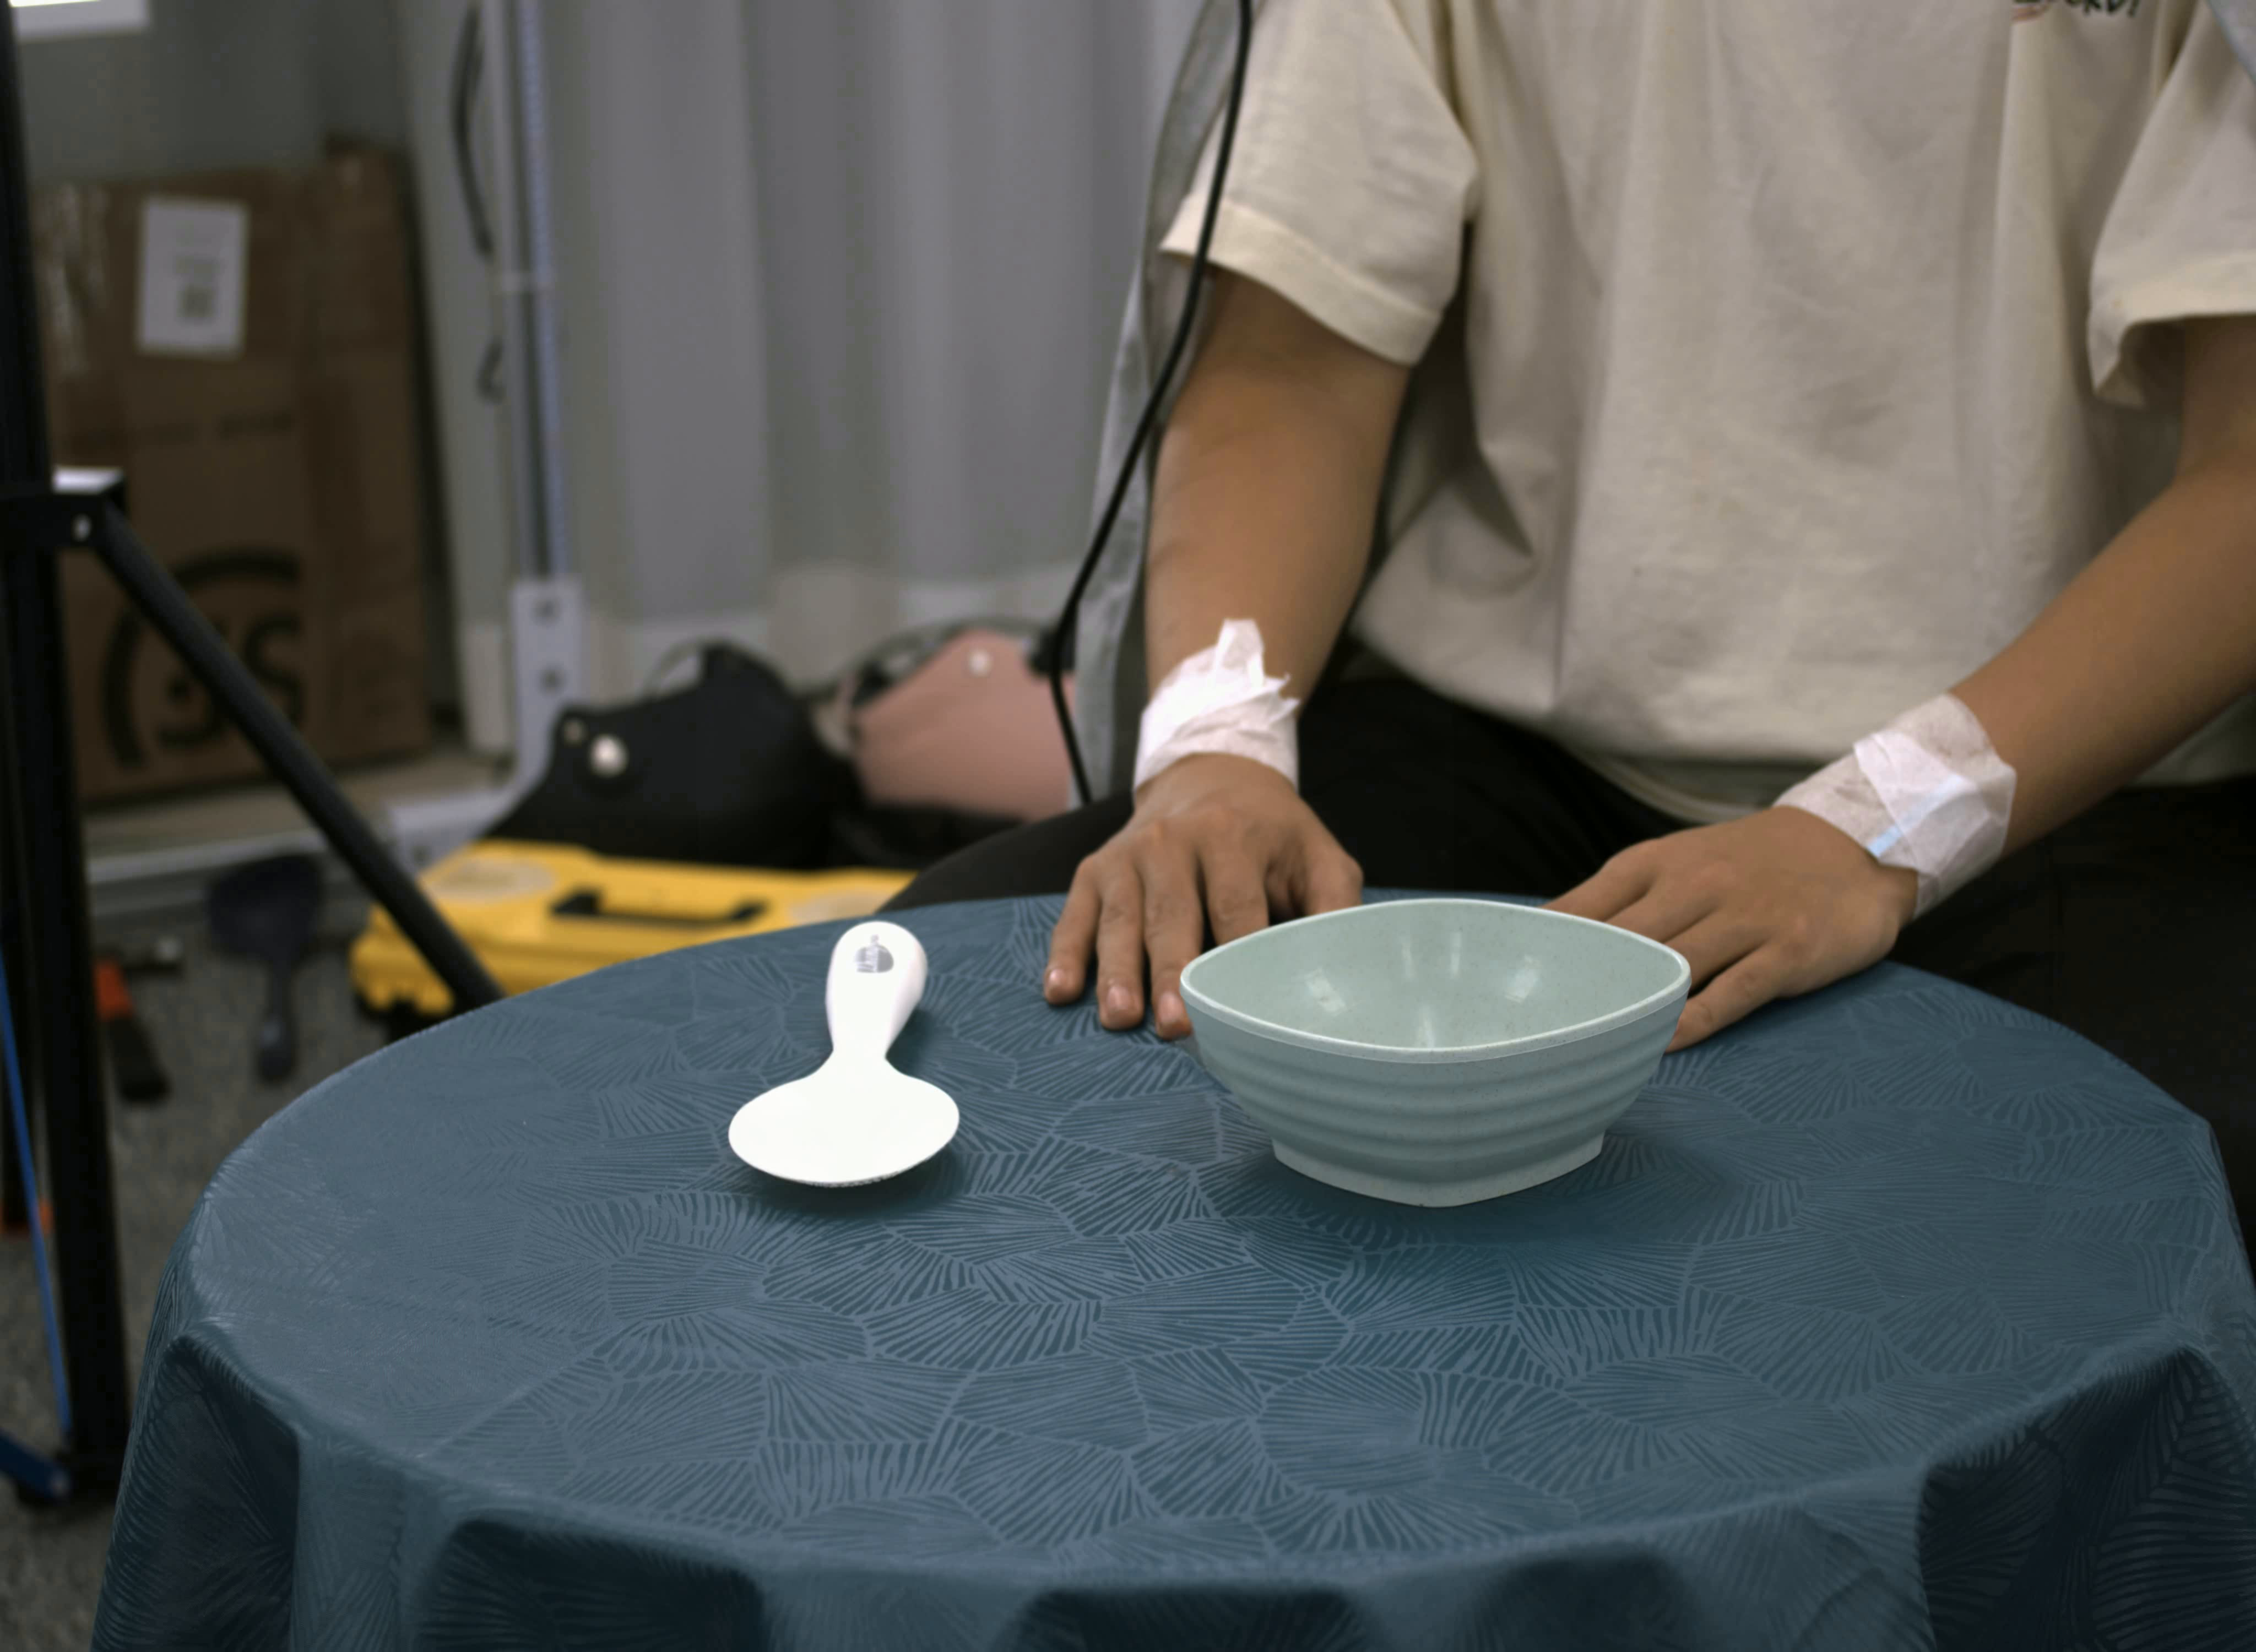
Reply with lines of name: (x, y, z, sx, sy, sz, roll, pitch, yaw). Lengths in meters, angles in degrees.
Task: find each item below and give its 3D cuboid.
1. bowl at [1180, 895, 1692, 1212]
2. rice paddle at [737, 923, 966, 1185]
bowl: (0.092, 0.071, 1.570, 0.151, 0.058, 0.152, -5, 16, 0)
rice paddle: (-0.082, 0.073, 1.640, 0.068, 0.029, 0.206, -4, 15, 2)
